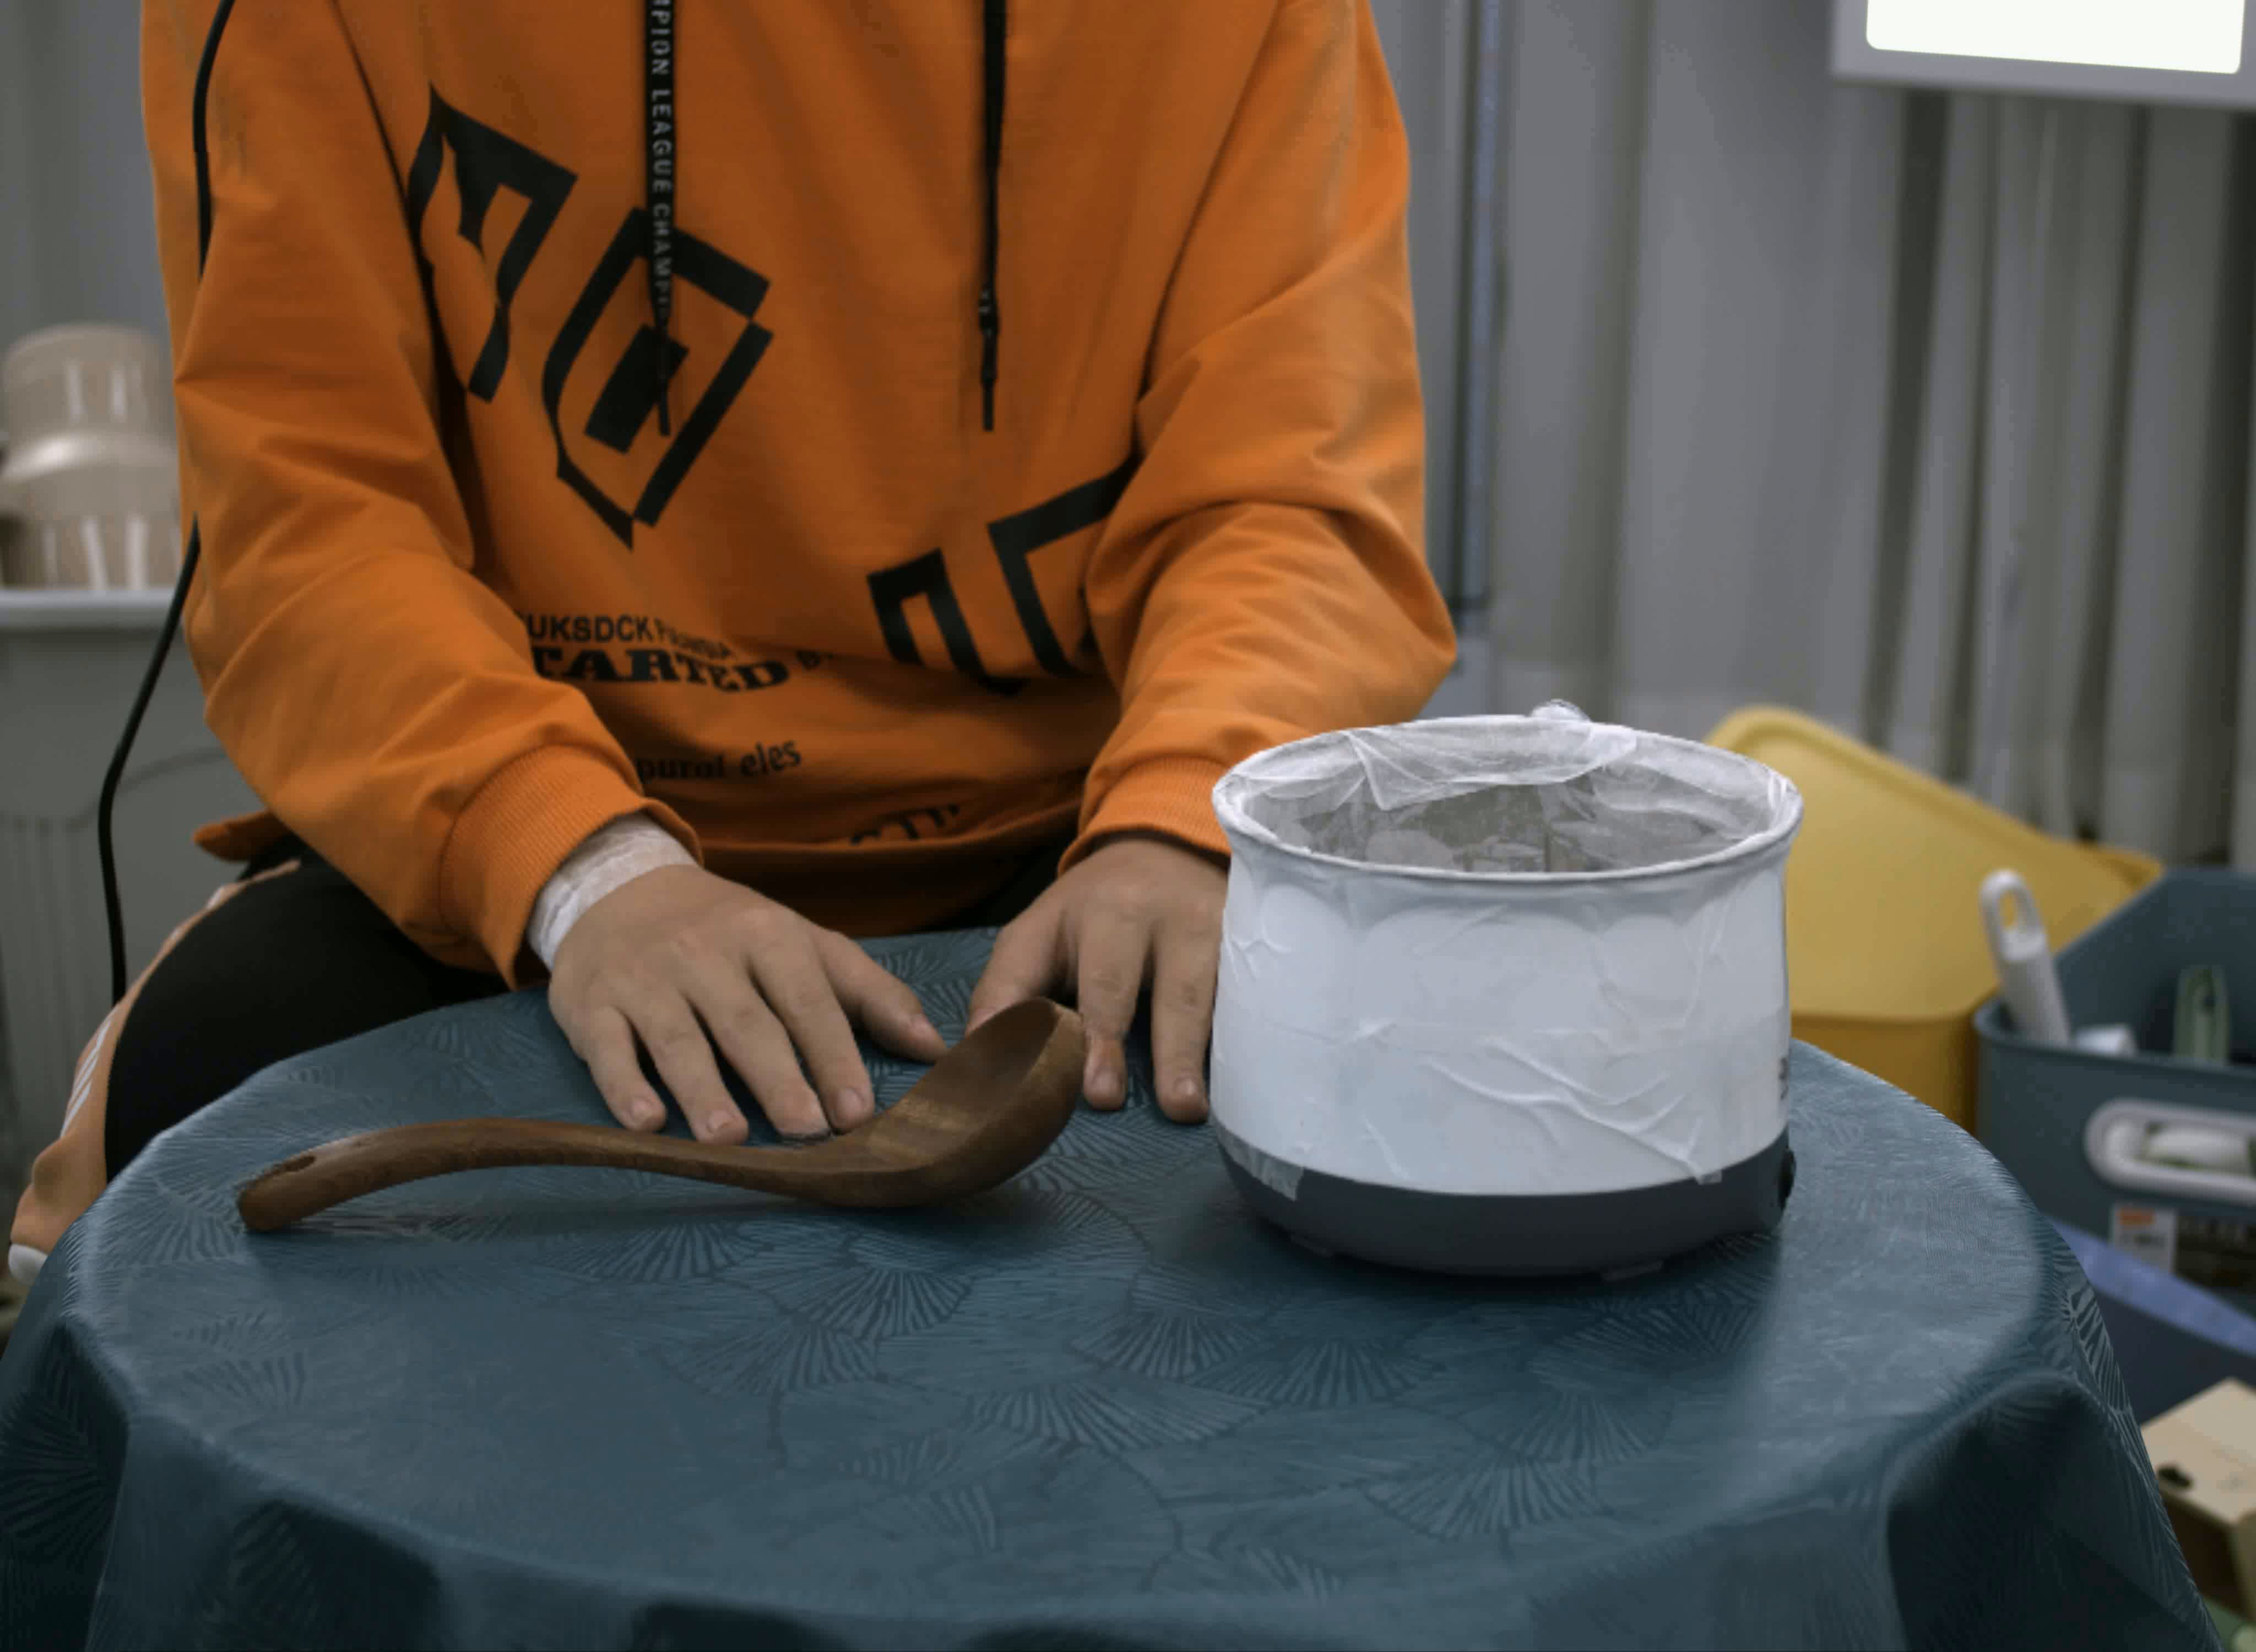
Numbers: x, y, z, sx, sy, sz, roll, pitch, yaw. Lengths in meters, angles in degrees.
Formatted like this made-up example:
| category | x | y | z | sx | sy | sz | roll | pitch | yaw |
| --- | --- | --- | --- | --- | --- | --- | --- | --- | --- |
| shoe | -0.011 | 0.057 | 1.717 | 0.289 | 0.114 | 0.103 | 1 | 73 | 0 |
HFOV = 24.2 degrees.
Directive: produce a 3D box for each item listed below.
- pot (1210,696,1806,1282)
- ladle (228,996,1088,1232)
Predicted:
| category | x | y | z | sx | sy | sz | roll | pitch | yaw |
| --- | --- | --- | --- | --- | --- | --- | --- | --- | --- |
| pot | 0.118 | 0.044 | 1.614 | 0.177 | 0.138 | 0.233 | 4 | 16 | 10 |
| ladle | -0.141 | 0.087 | 1.590 | 0.260 | 0.065 | 0.076 | -1 | 13 | -6 |
